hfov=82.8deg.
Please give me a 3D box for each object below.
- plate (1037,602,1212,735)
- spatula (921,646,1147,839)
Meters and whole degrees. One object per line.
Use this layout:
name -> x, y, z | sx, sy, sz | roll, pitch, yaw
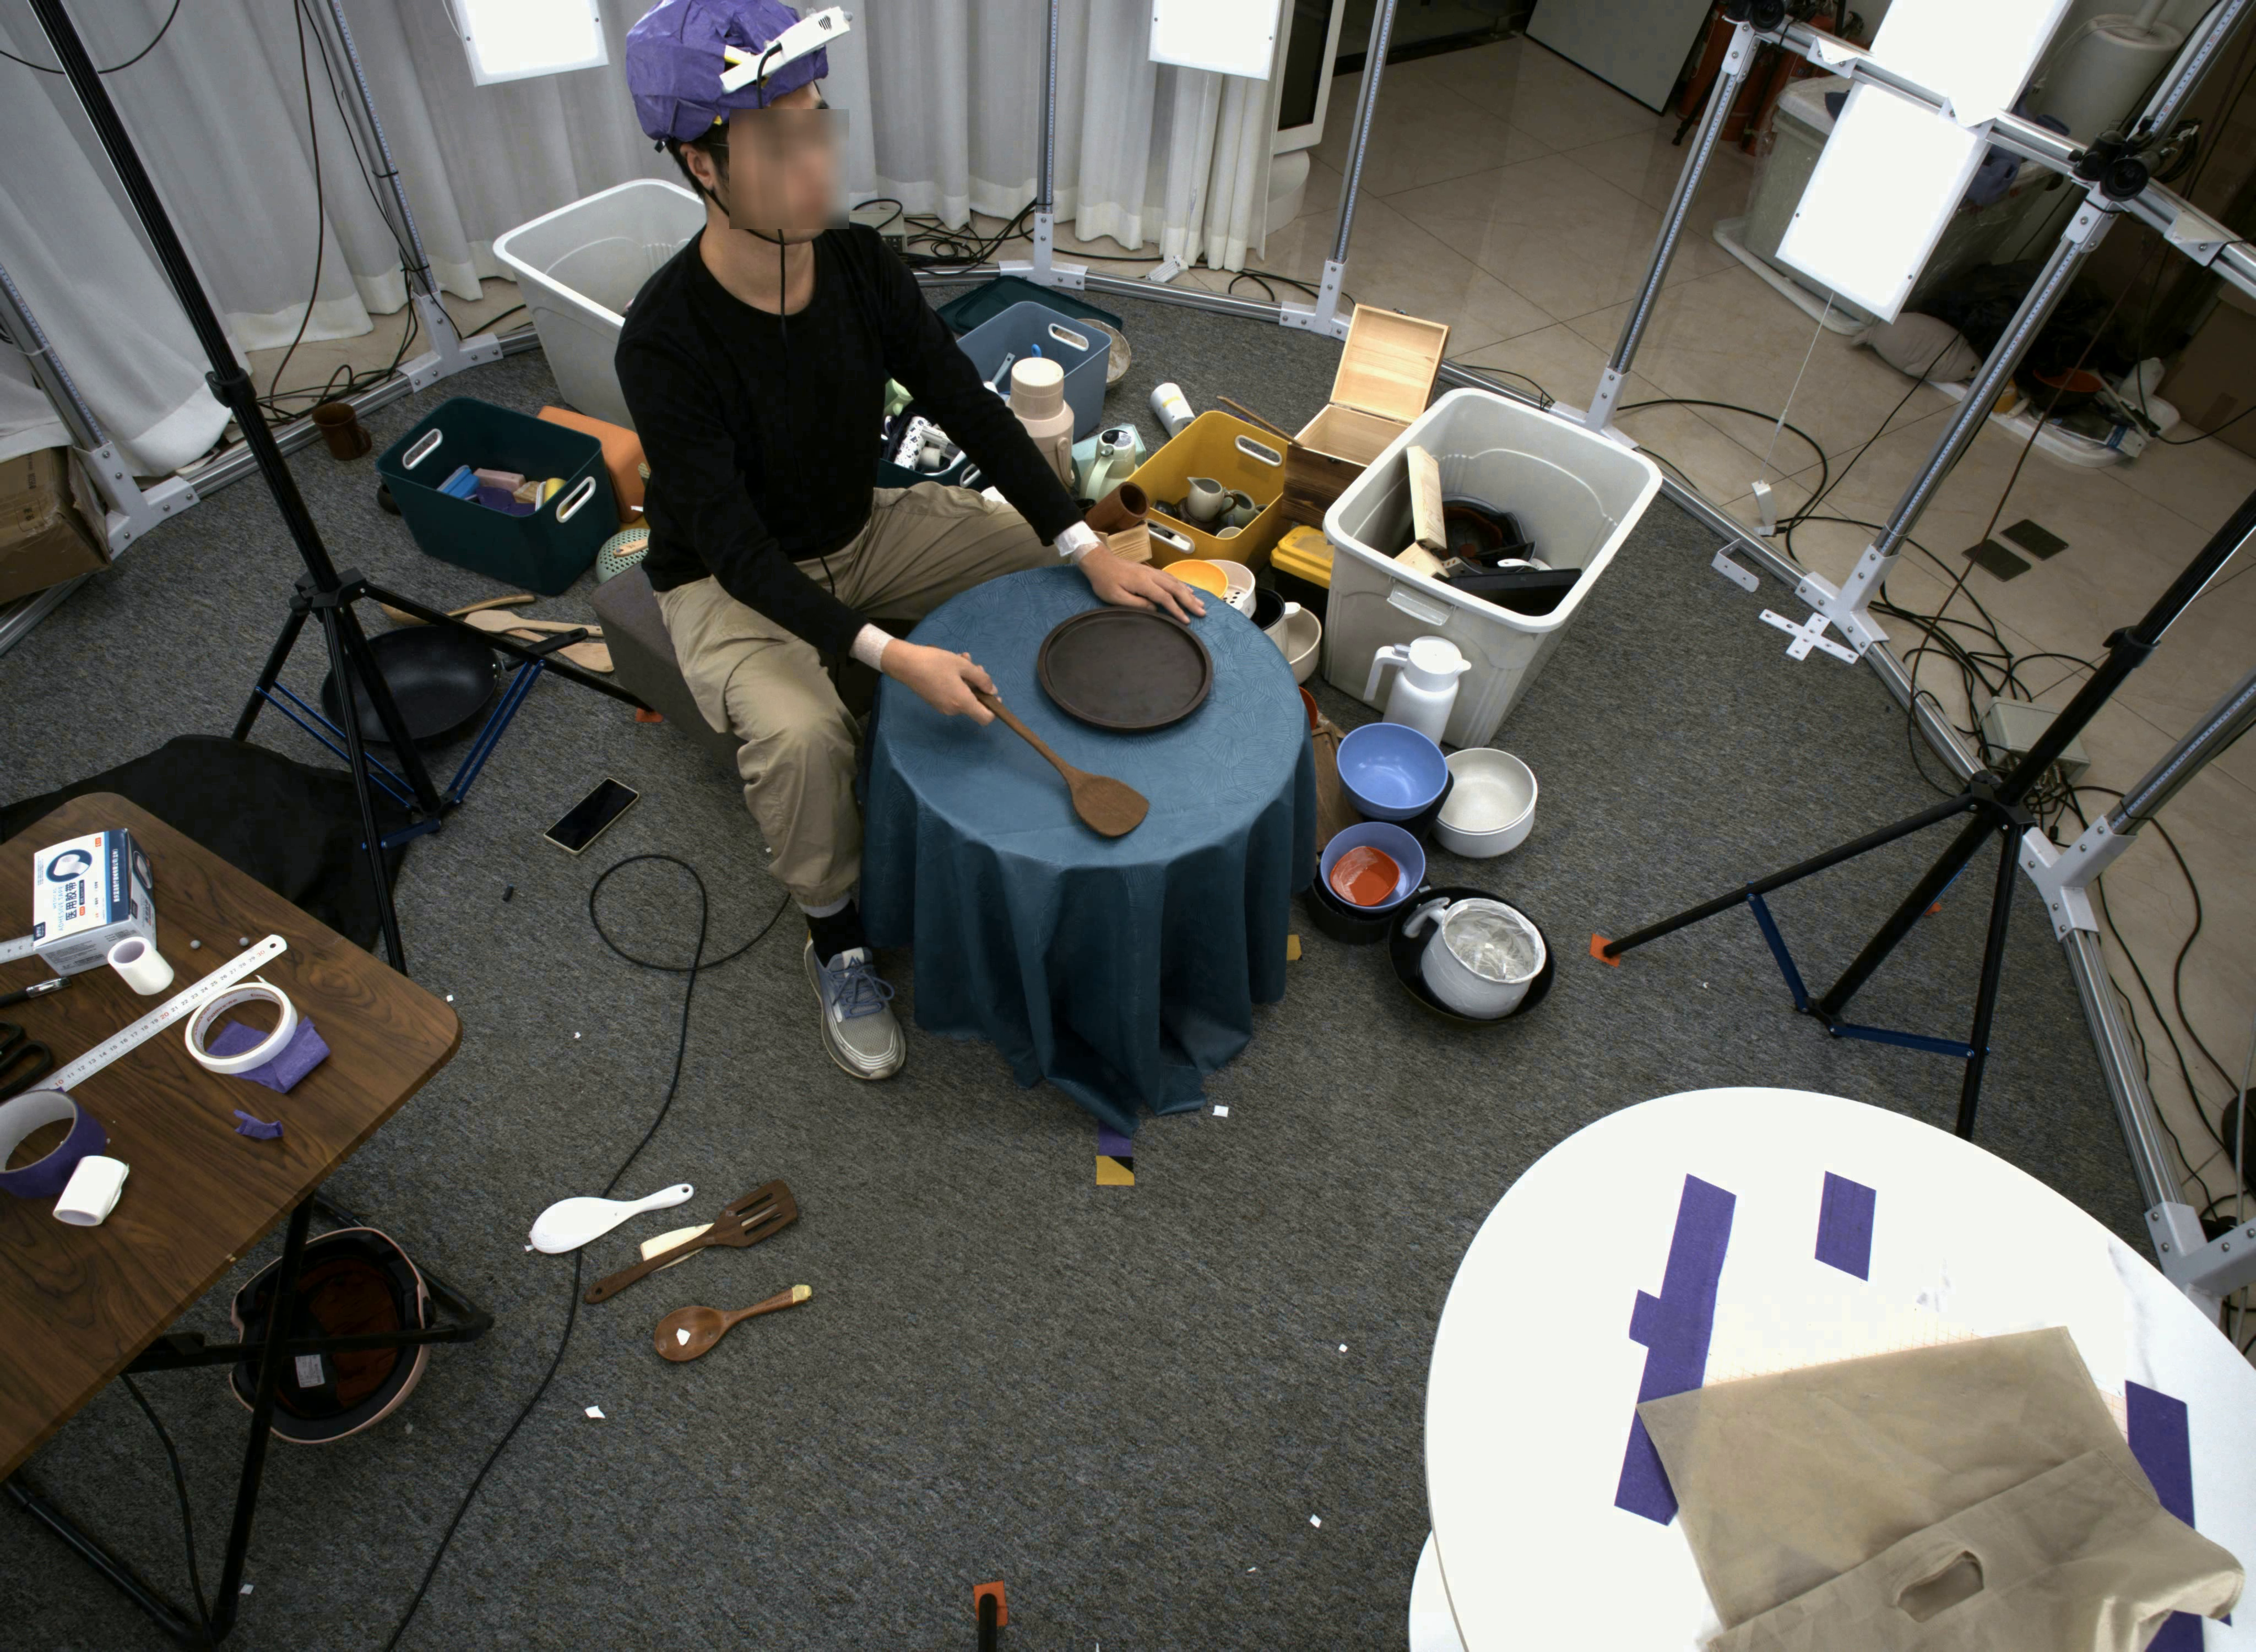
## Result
plate -> -0.005, -0.226, 1.852 | 0.254, 0.028, 0.261 | 2, 51, -2
spatula -> -0.136, -0.121, 1.713 | 0.389, 0.015, 0.097 | 41, 53, 13
